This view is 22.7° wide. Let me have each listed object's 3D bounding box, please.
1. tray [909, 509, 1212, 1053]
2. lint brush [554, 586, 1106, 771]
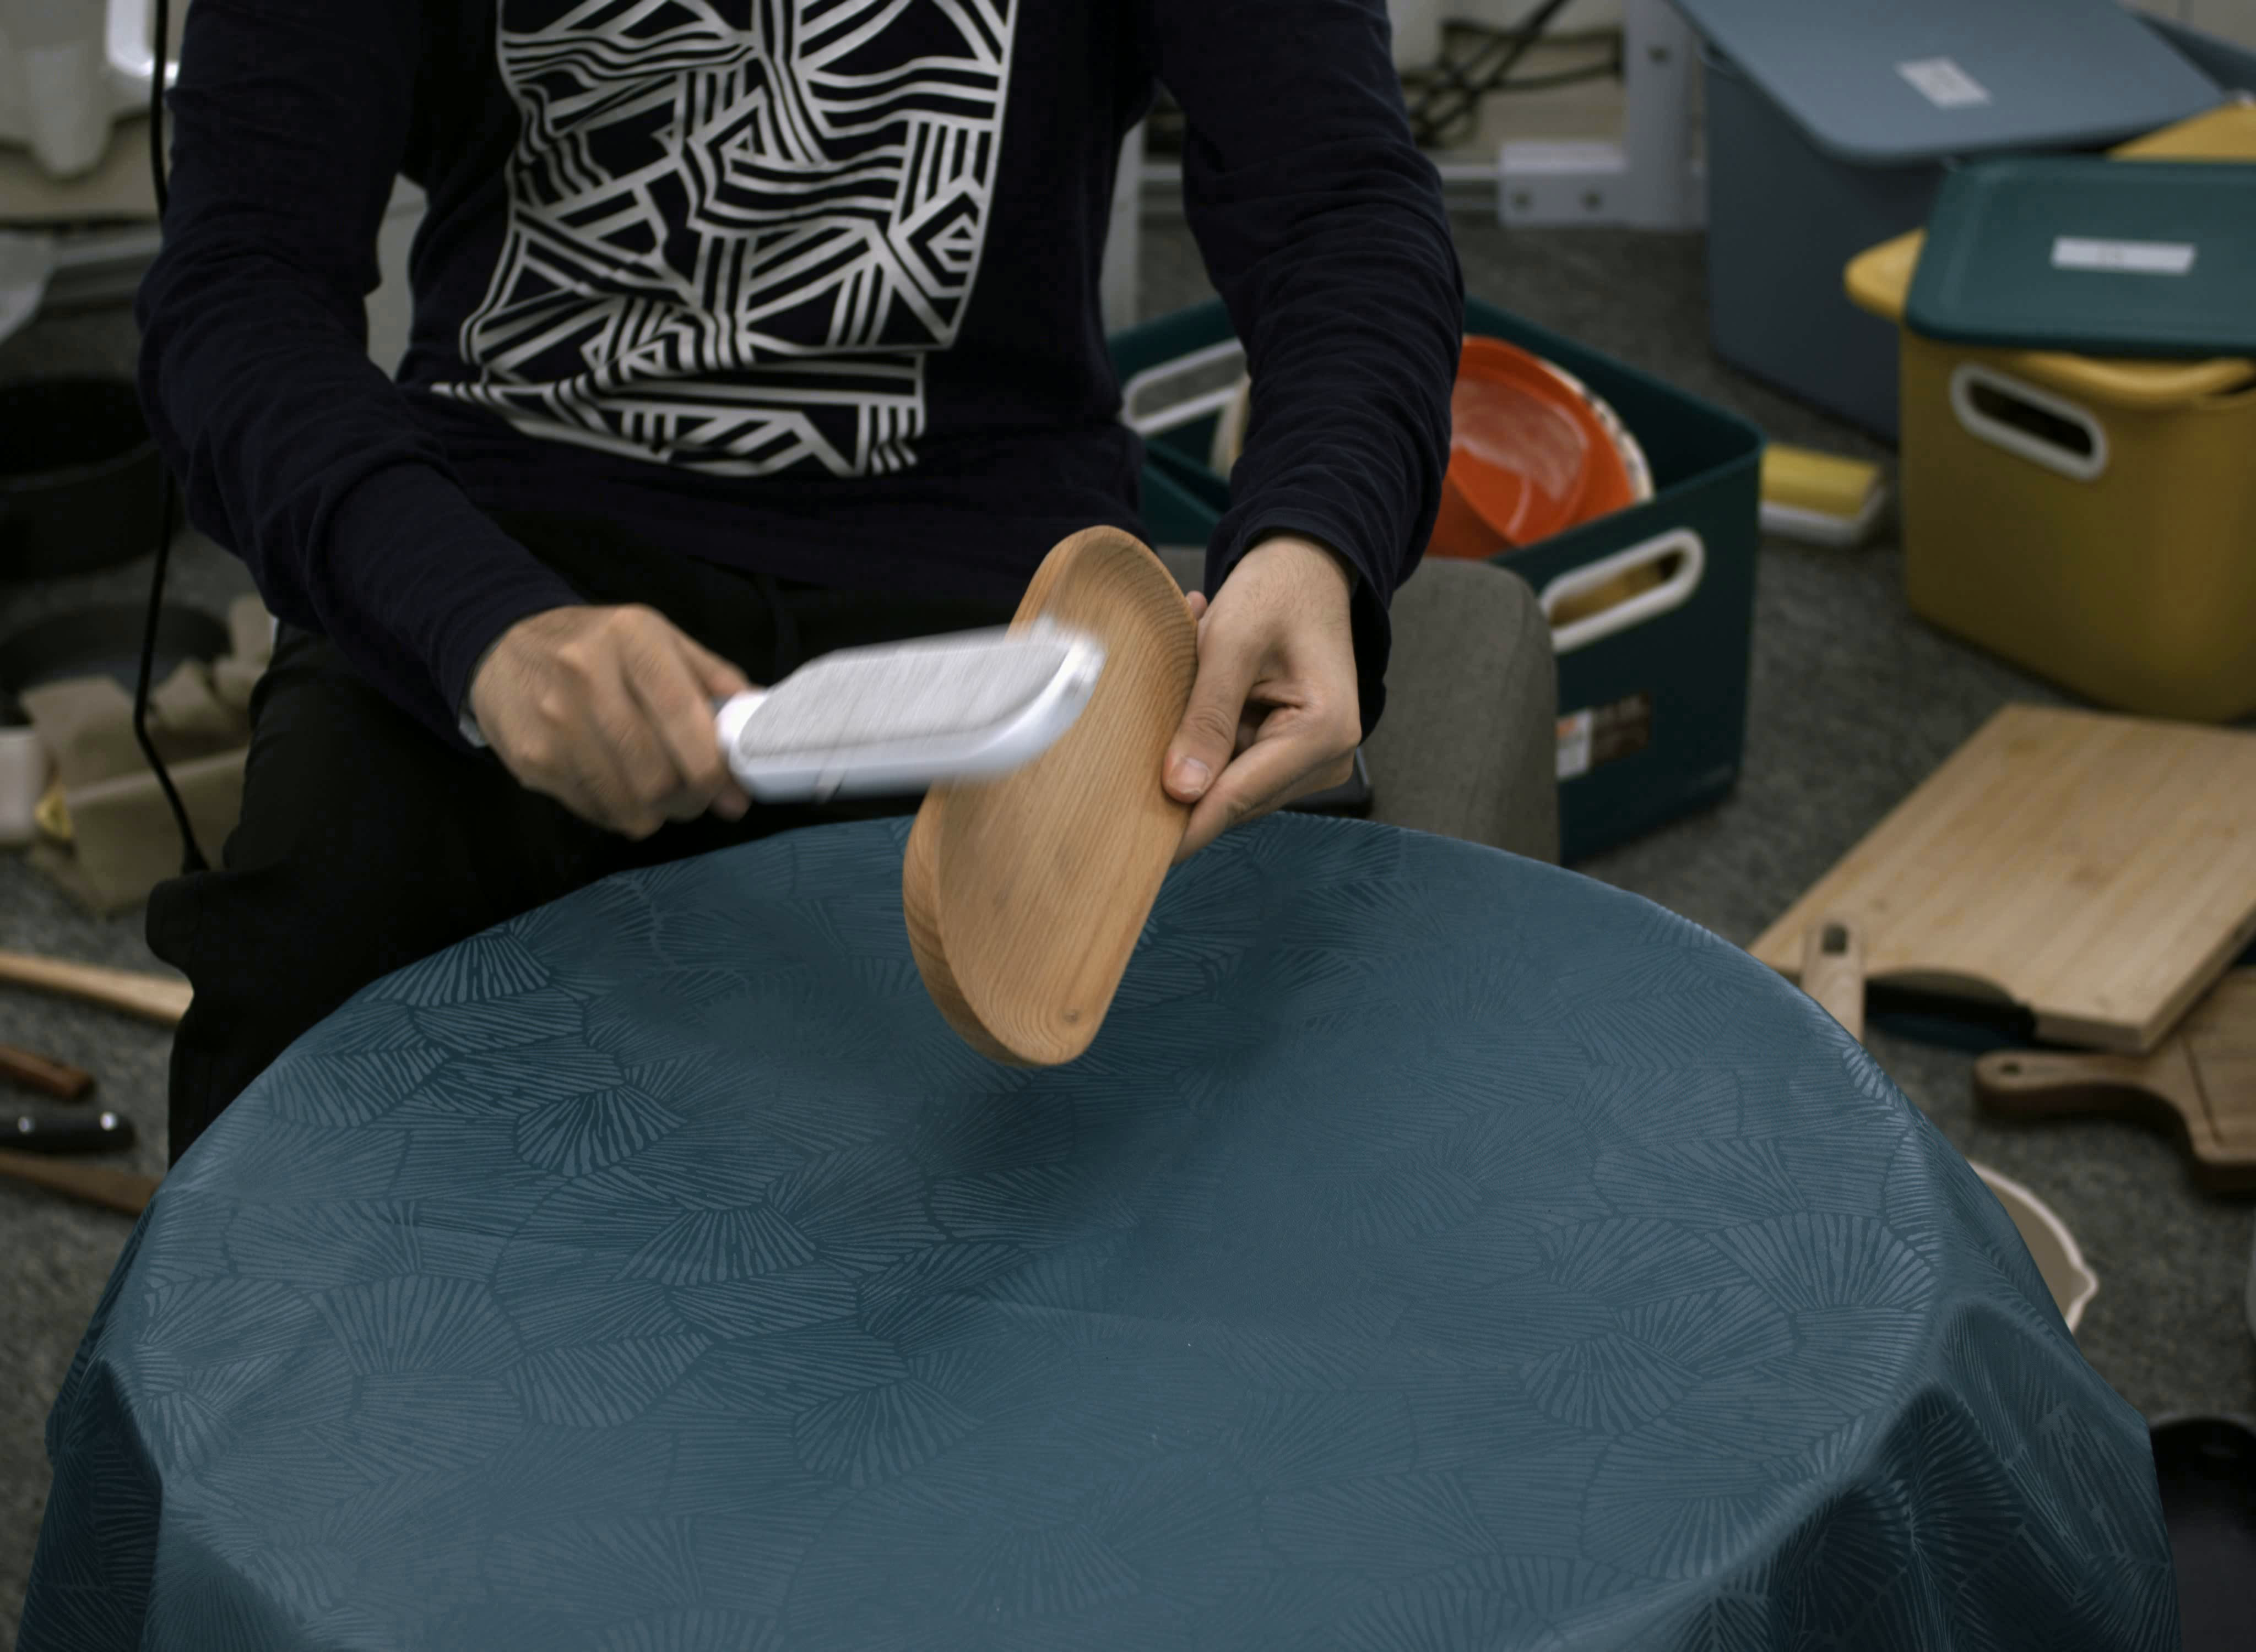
[{"bbox_3d":[-0.021,-0.016,1.882,0.020,0.101,0.236,-15,32,28],"label":"tray"},{"bbox_3d":[-0.107,-0.044,1.905,0.305,0.021,0.061,-7,45,52],"label":"lint brush"}]
